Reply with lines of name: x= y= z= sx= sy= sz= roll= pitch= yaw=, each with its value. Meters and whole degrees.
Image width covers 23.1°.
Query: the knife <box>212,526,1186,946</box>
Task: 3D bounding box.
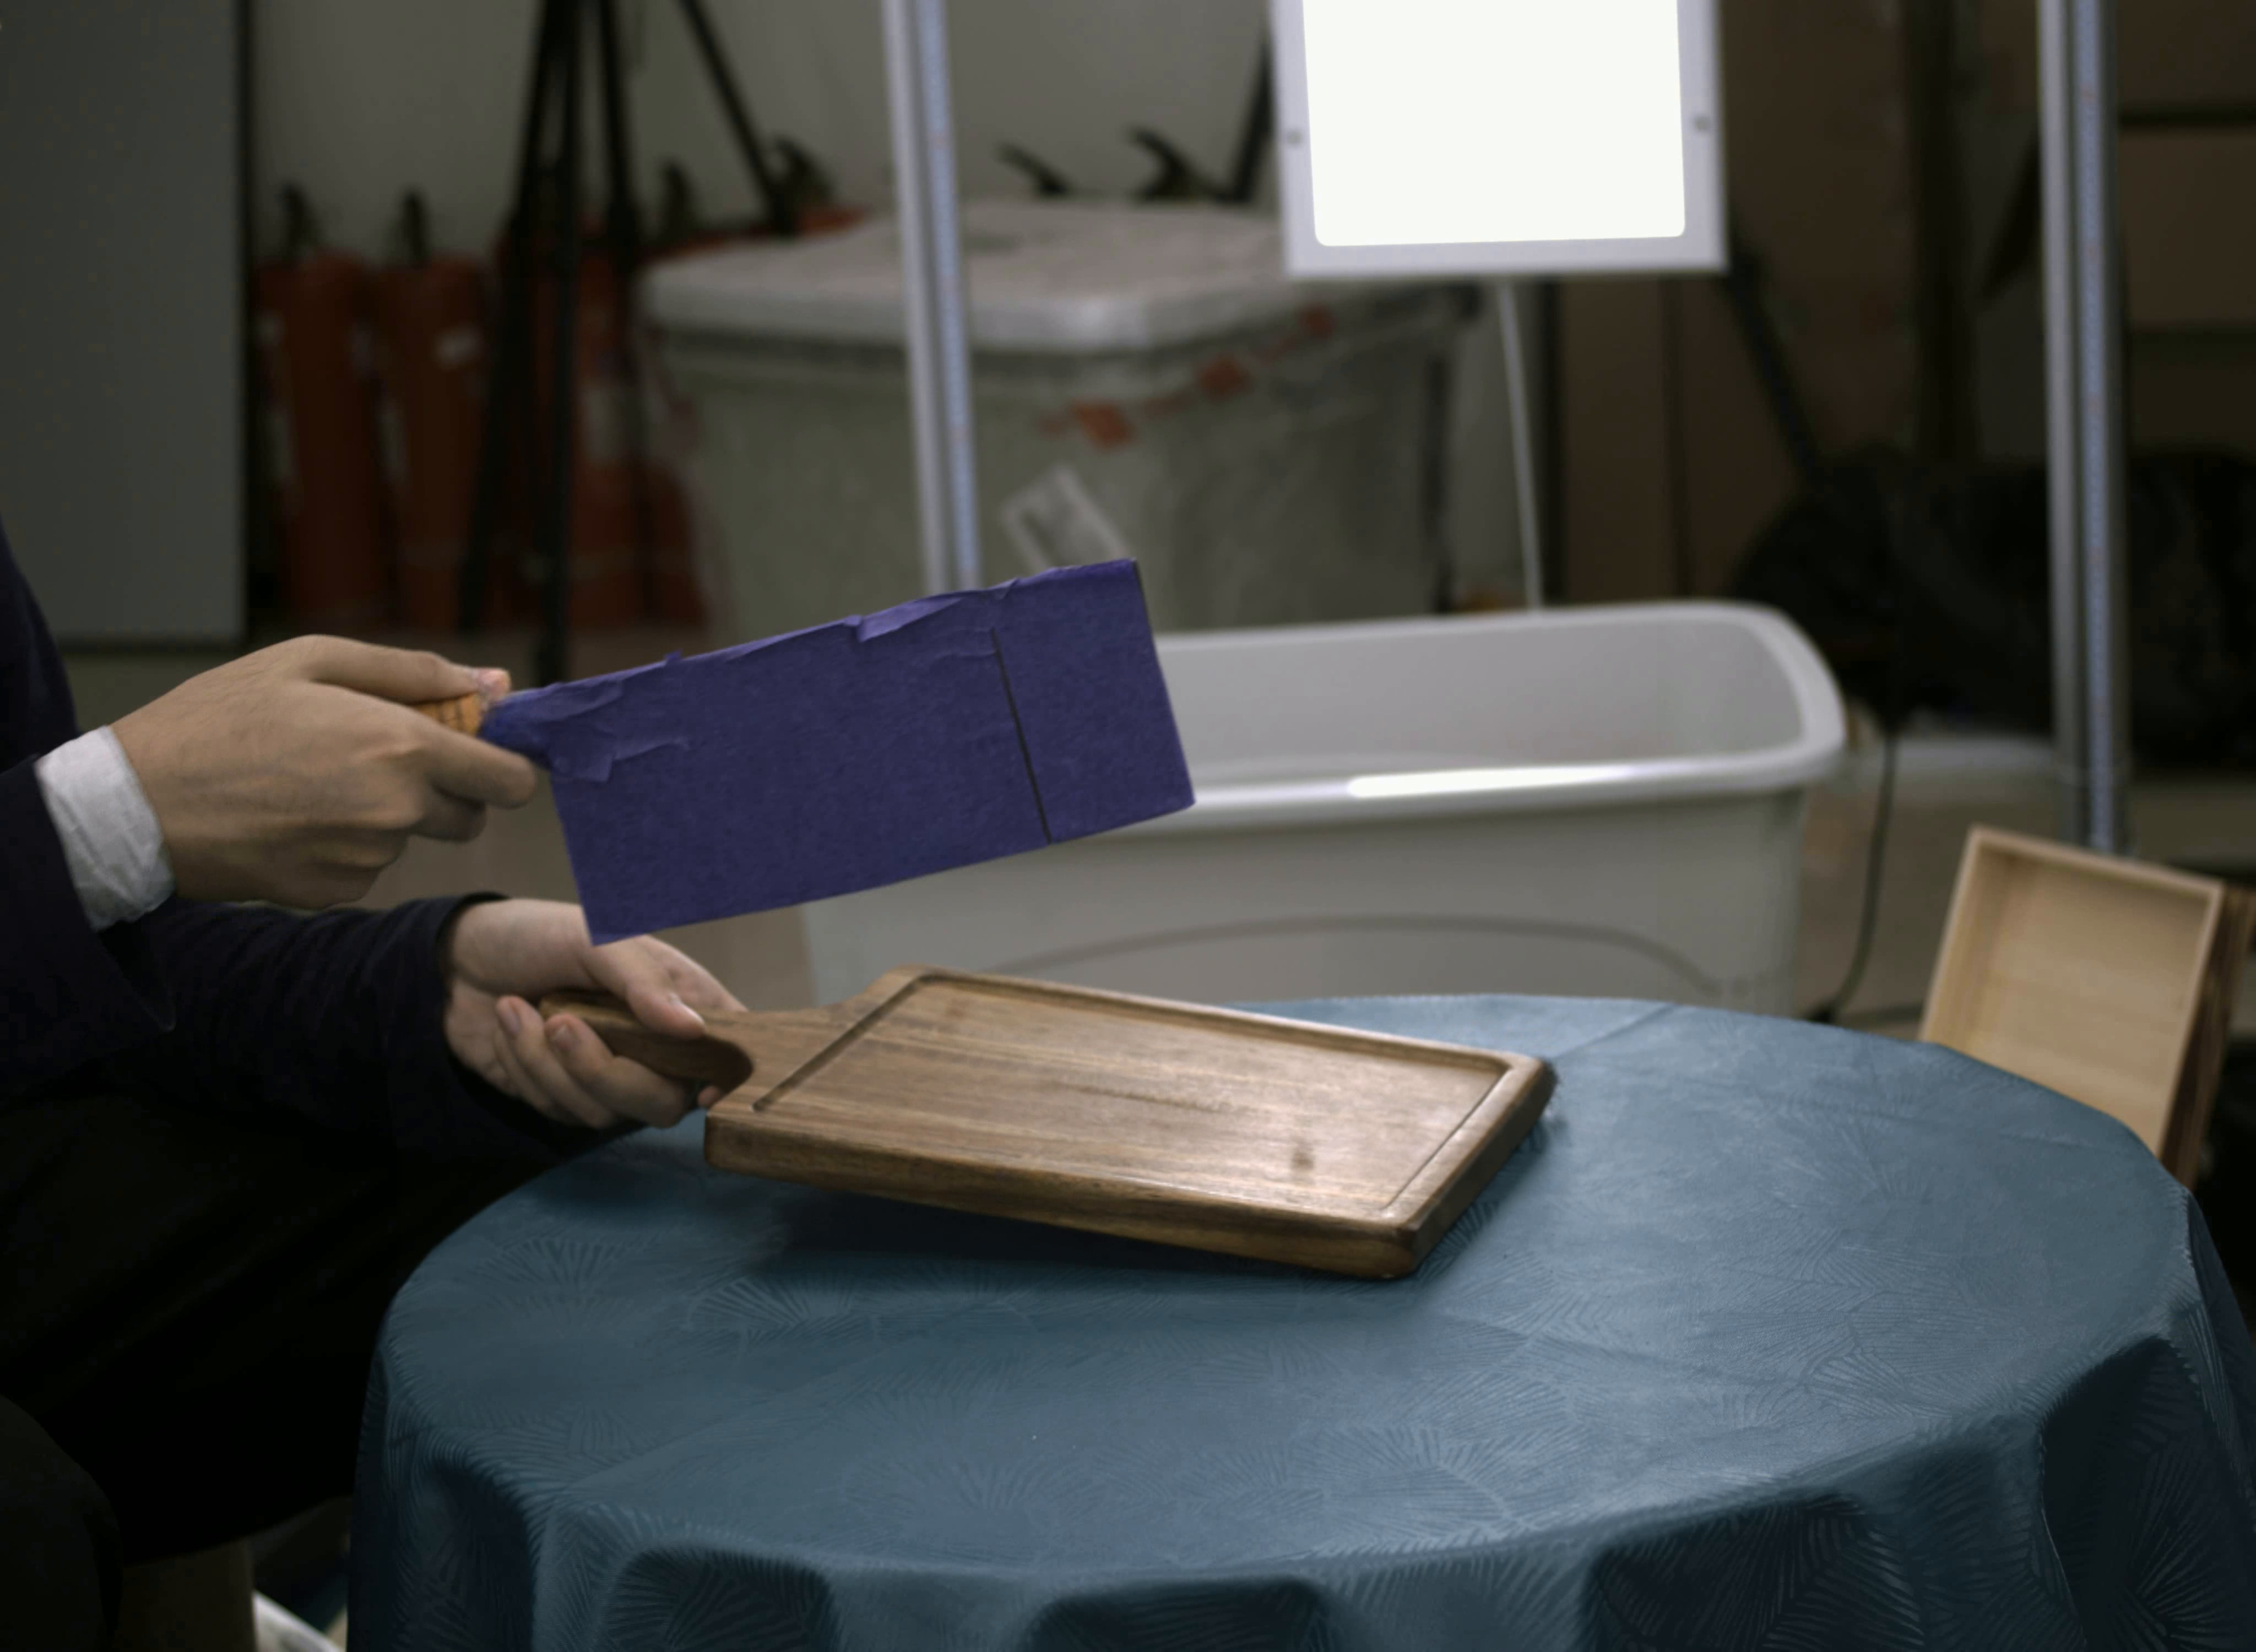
knife: x=-0.140 y=-0.013 z=1.814 sx=0.316 sy=0.104 sz=0.032 roll=-13 pitch=11 yaw=5

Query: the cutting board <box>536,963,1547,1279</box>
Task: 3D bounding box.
cutting board: x=-0.043 y=0.092 z=1.922 sx=0.356 sy=0.023 sz=0.197 roll=8 pitch=17 yaw=19
